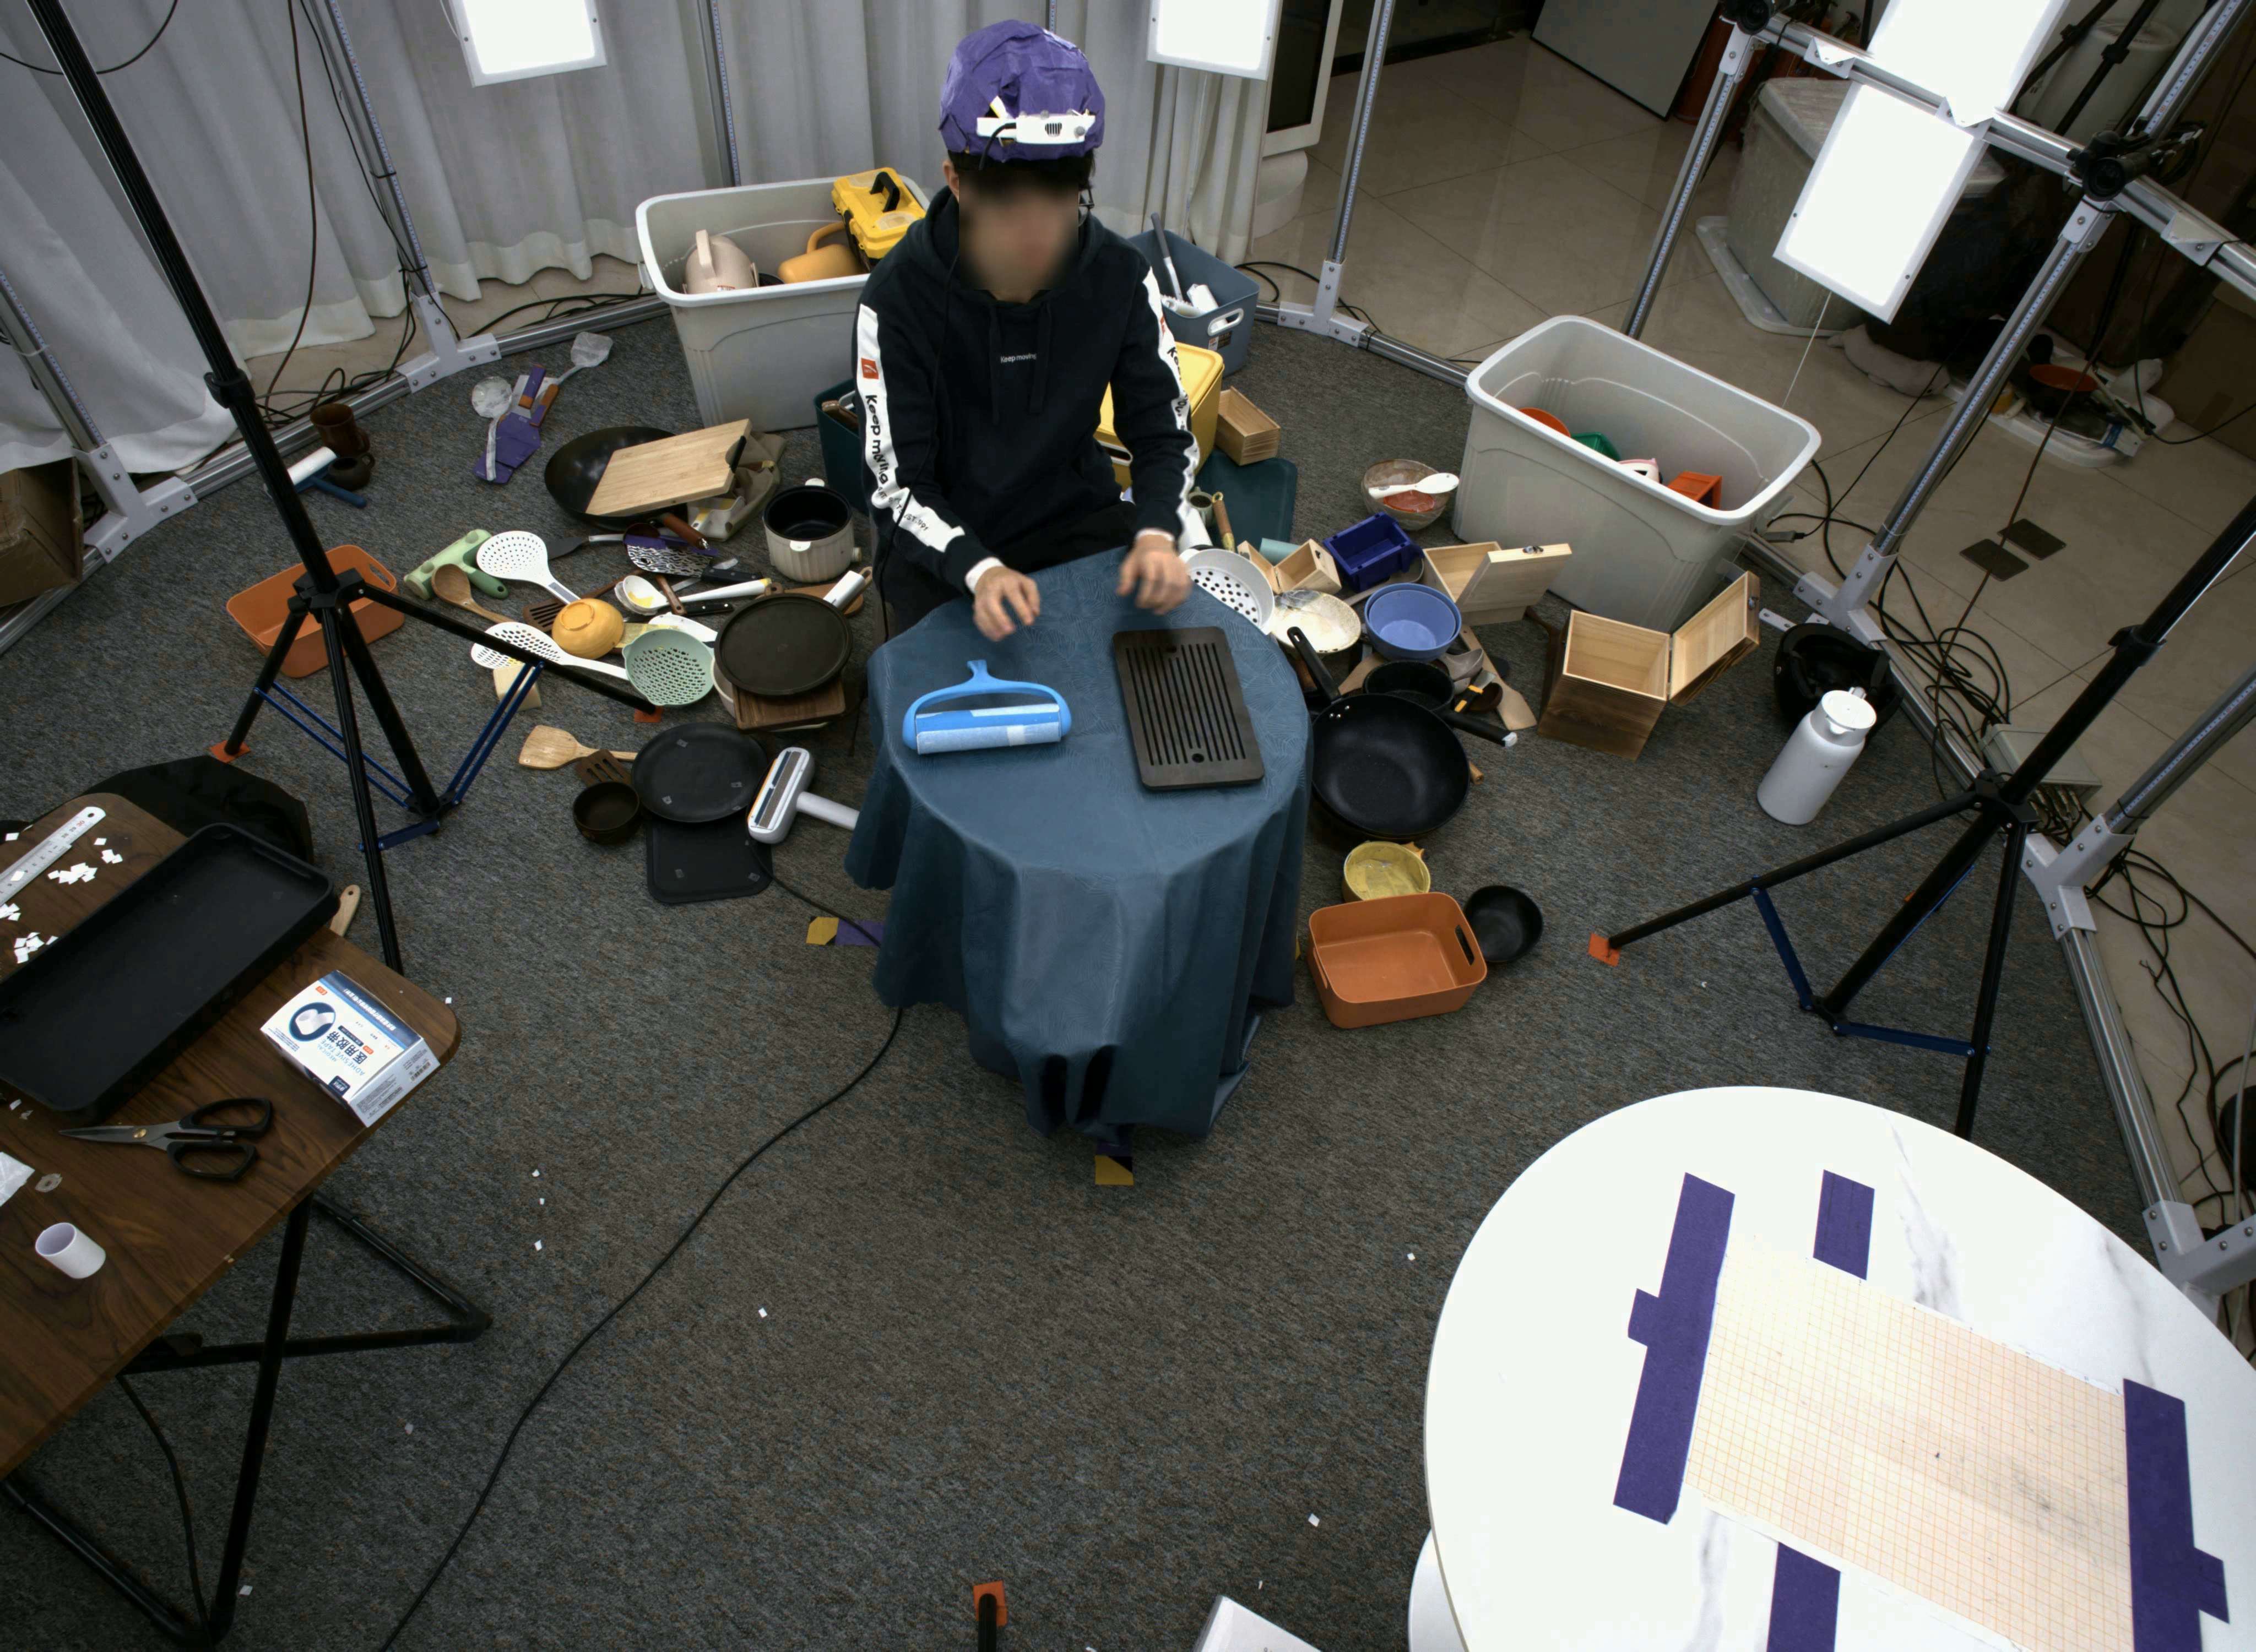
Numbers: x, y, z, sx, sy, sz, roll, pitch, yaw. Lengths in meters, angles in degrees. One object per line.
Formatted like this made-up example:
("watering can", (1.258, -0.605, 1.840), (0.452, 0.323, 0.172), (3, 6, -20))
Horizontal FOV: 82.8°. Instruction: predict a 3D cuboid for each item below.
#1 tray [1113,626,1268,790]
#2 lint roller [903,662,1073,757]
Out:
("tray", (0.083, -0.171, 1.810), (0.170, 0.018, 0.314), (-5, 50, -8))
("lint roller", (-0.201, -0.178, 1.772), (0.229, 0.066, 0.185), (-9, 52, -9))
